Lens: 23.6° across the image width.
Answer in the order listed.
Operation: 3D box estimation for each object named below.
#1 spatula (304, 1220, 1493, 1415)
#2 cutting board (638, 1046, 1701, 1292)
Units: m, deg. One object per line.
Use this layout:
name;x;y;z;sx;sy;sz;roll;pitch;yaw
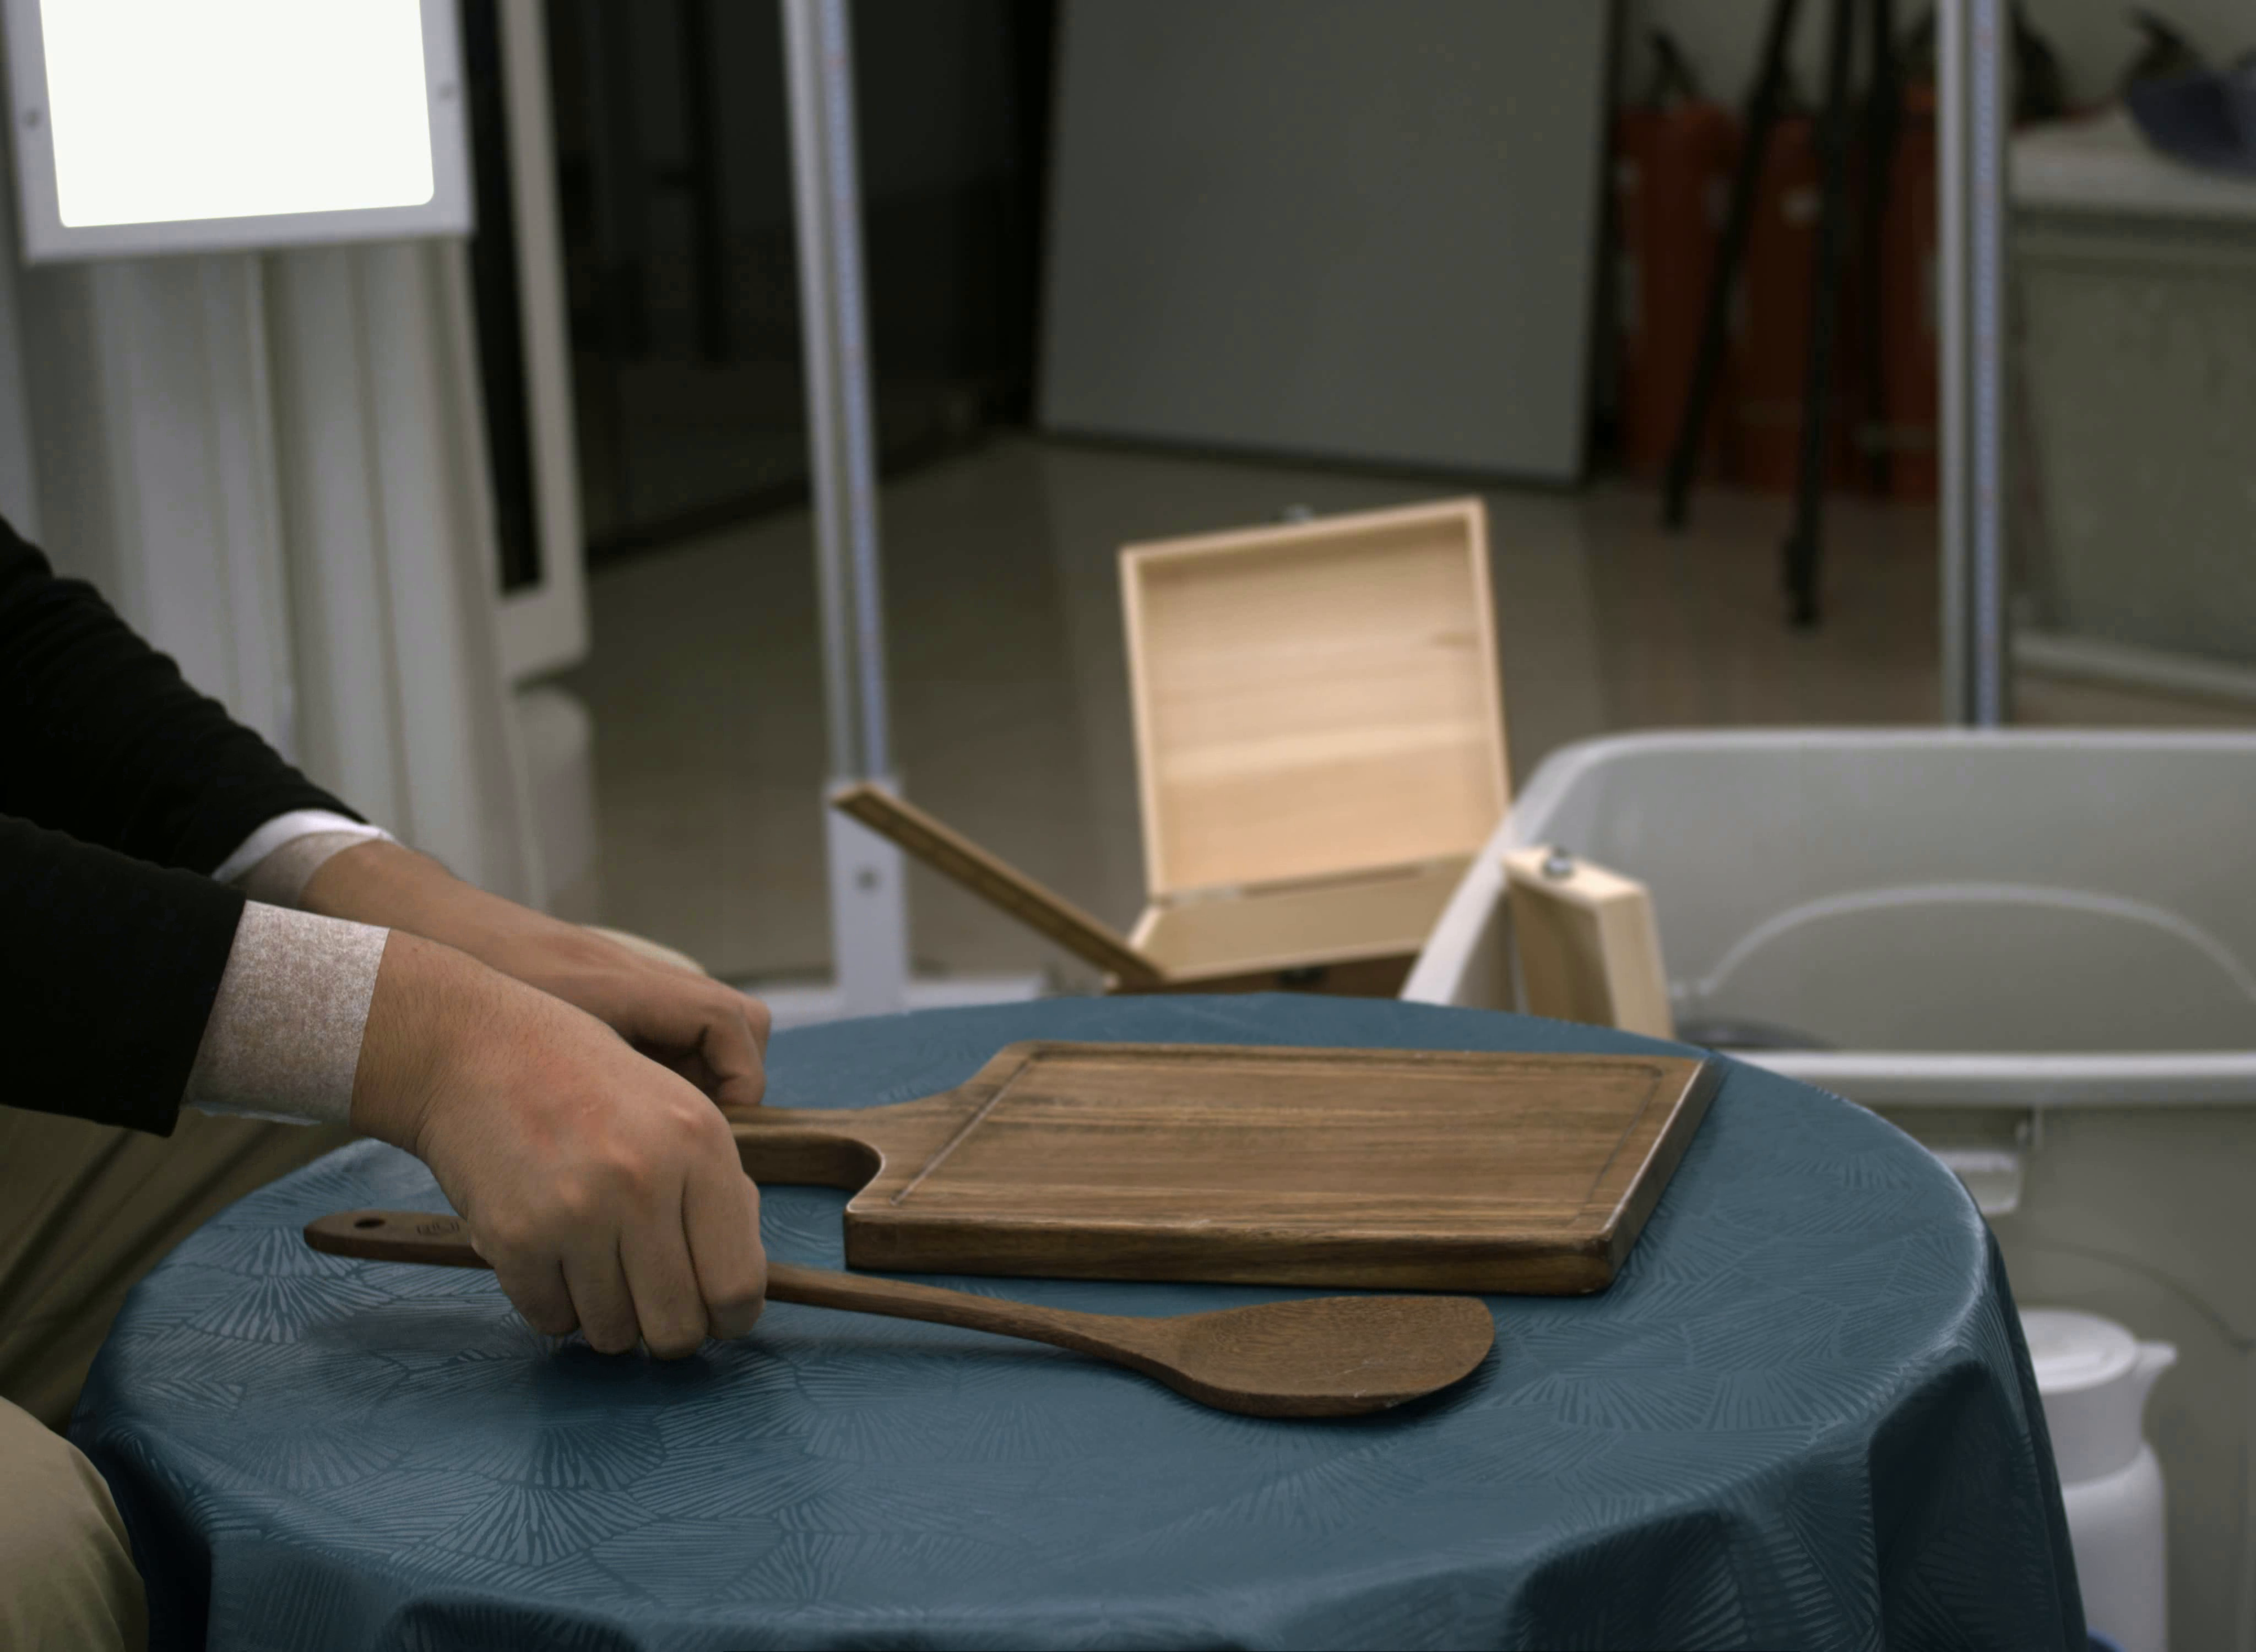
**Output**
spatula;-0.077;0.144;1.636;0.385;0.016;0.095;5;15;19
cutting board;0.005;0.109;1.774;0.351;0.023;0.199;0;14;17
